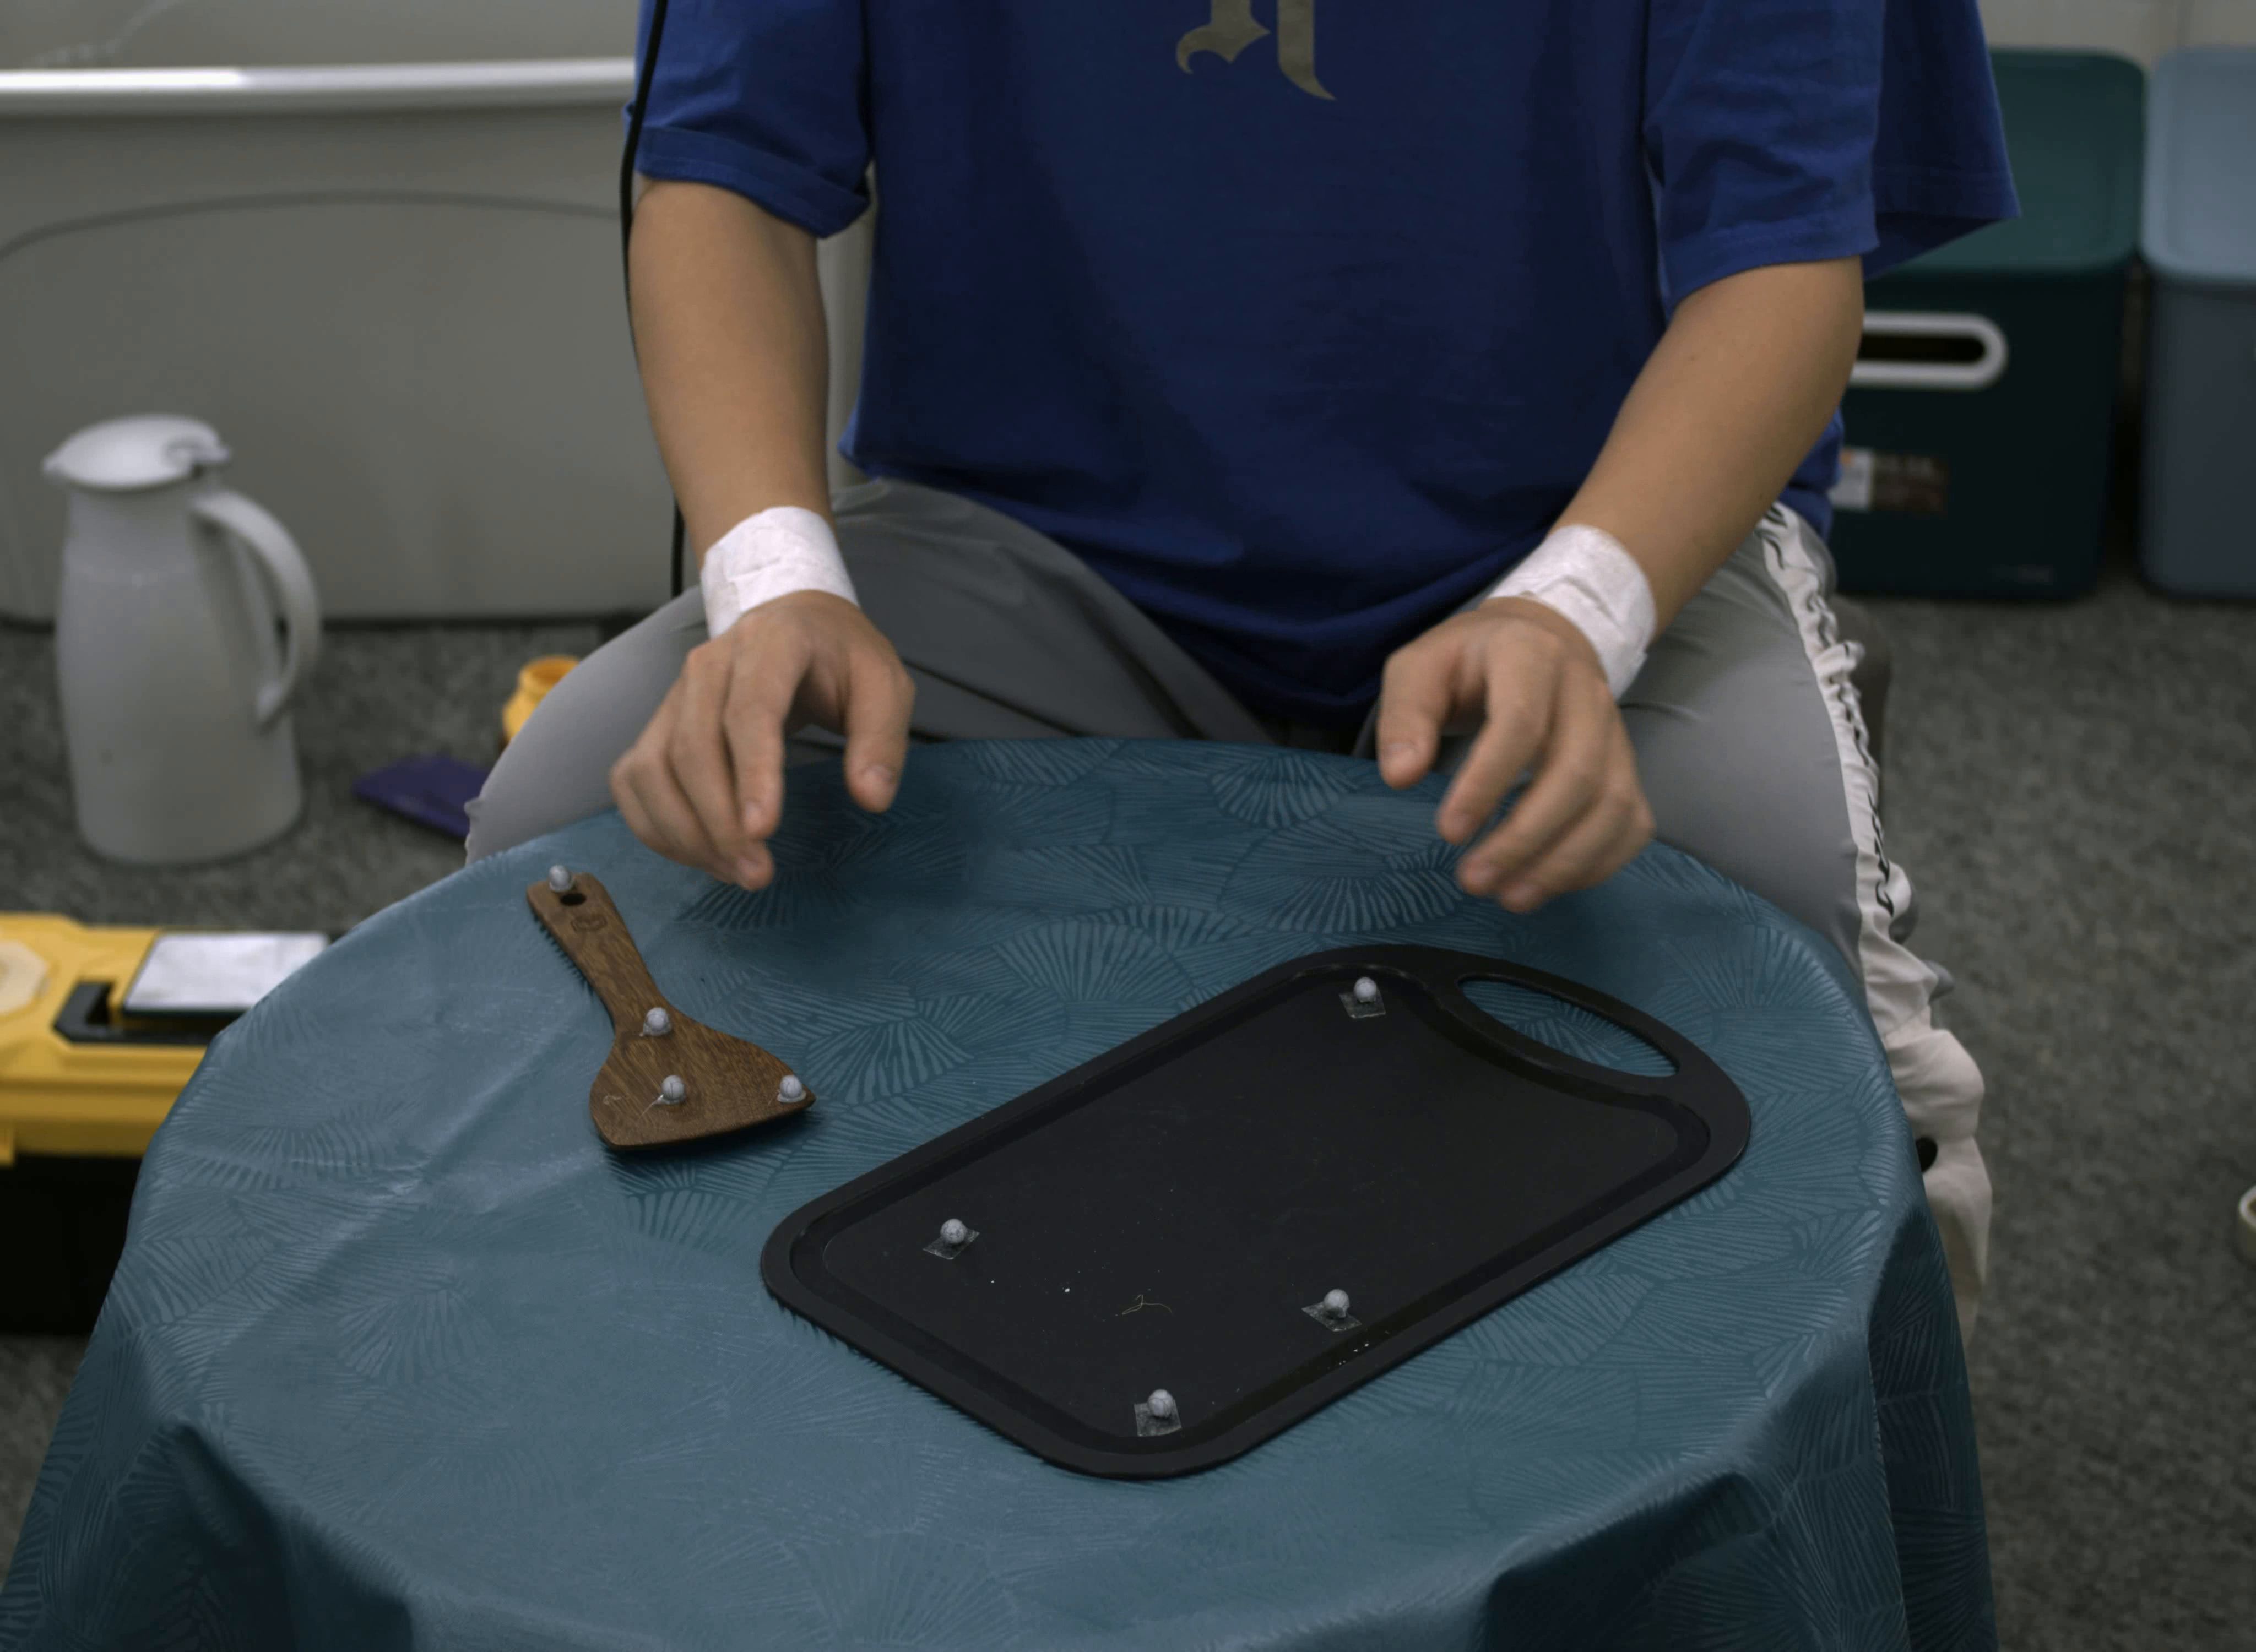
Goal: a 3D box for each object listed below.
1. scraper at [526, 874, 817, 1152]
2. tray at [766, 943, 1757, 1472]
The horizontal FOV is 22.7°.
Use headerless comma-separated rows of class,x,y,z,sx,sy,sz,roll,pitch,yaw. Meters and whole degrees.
scraper,-0.173,0.064,1.980,0.076,0.011,0.213,-11,28,-17
tray,0.051,0.115,1.860,0.329,0.009,0.211,-25,34,-36
